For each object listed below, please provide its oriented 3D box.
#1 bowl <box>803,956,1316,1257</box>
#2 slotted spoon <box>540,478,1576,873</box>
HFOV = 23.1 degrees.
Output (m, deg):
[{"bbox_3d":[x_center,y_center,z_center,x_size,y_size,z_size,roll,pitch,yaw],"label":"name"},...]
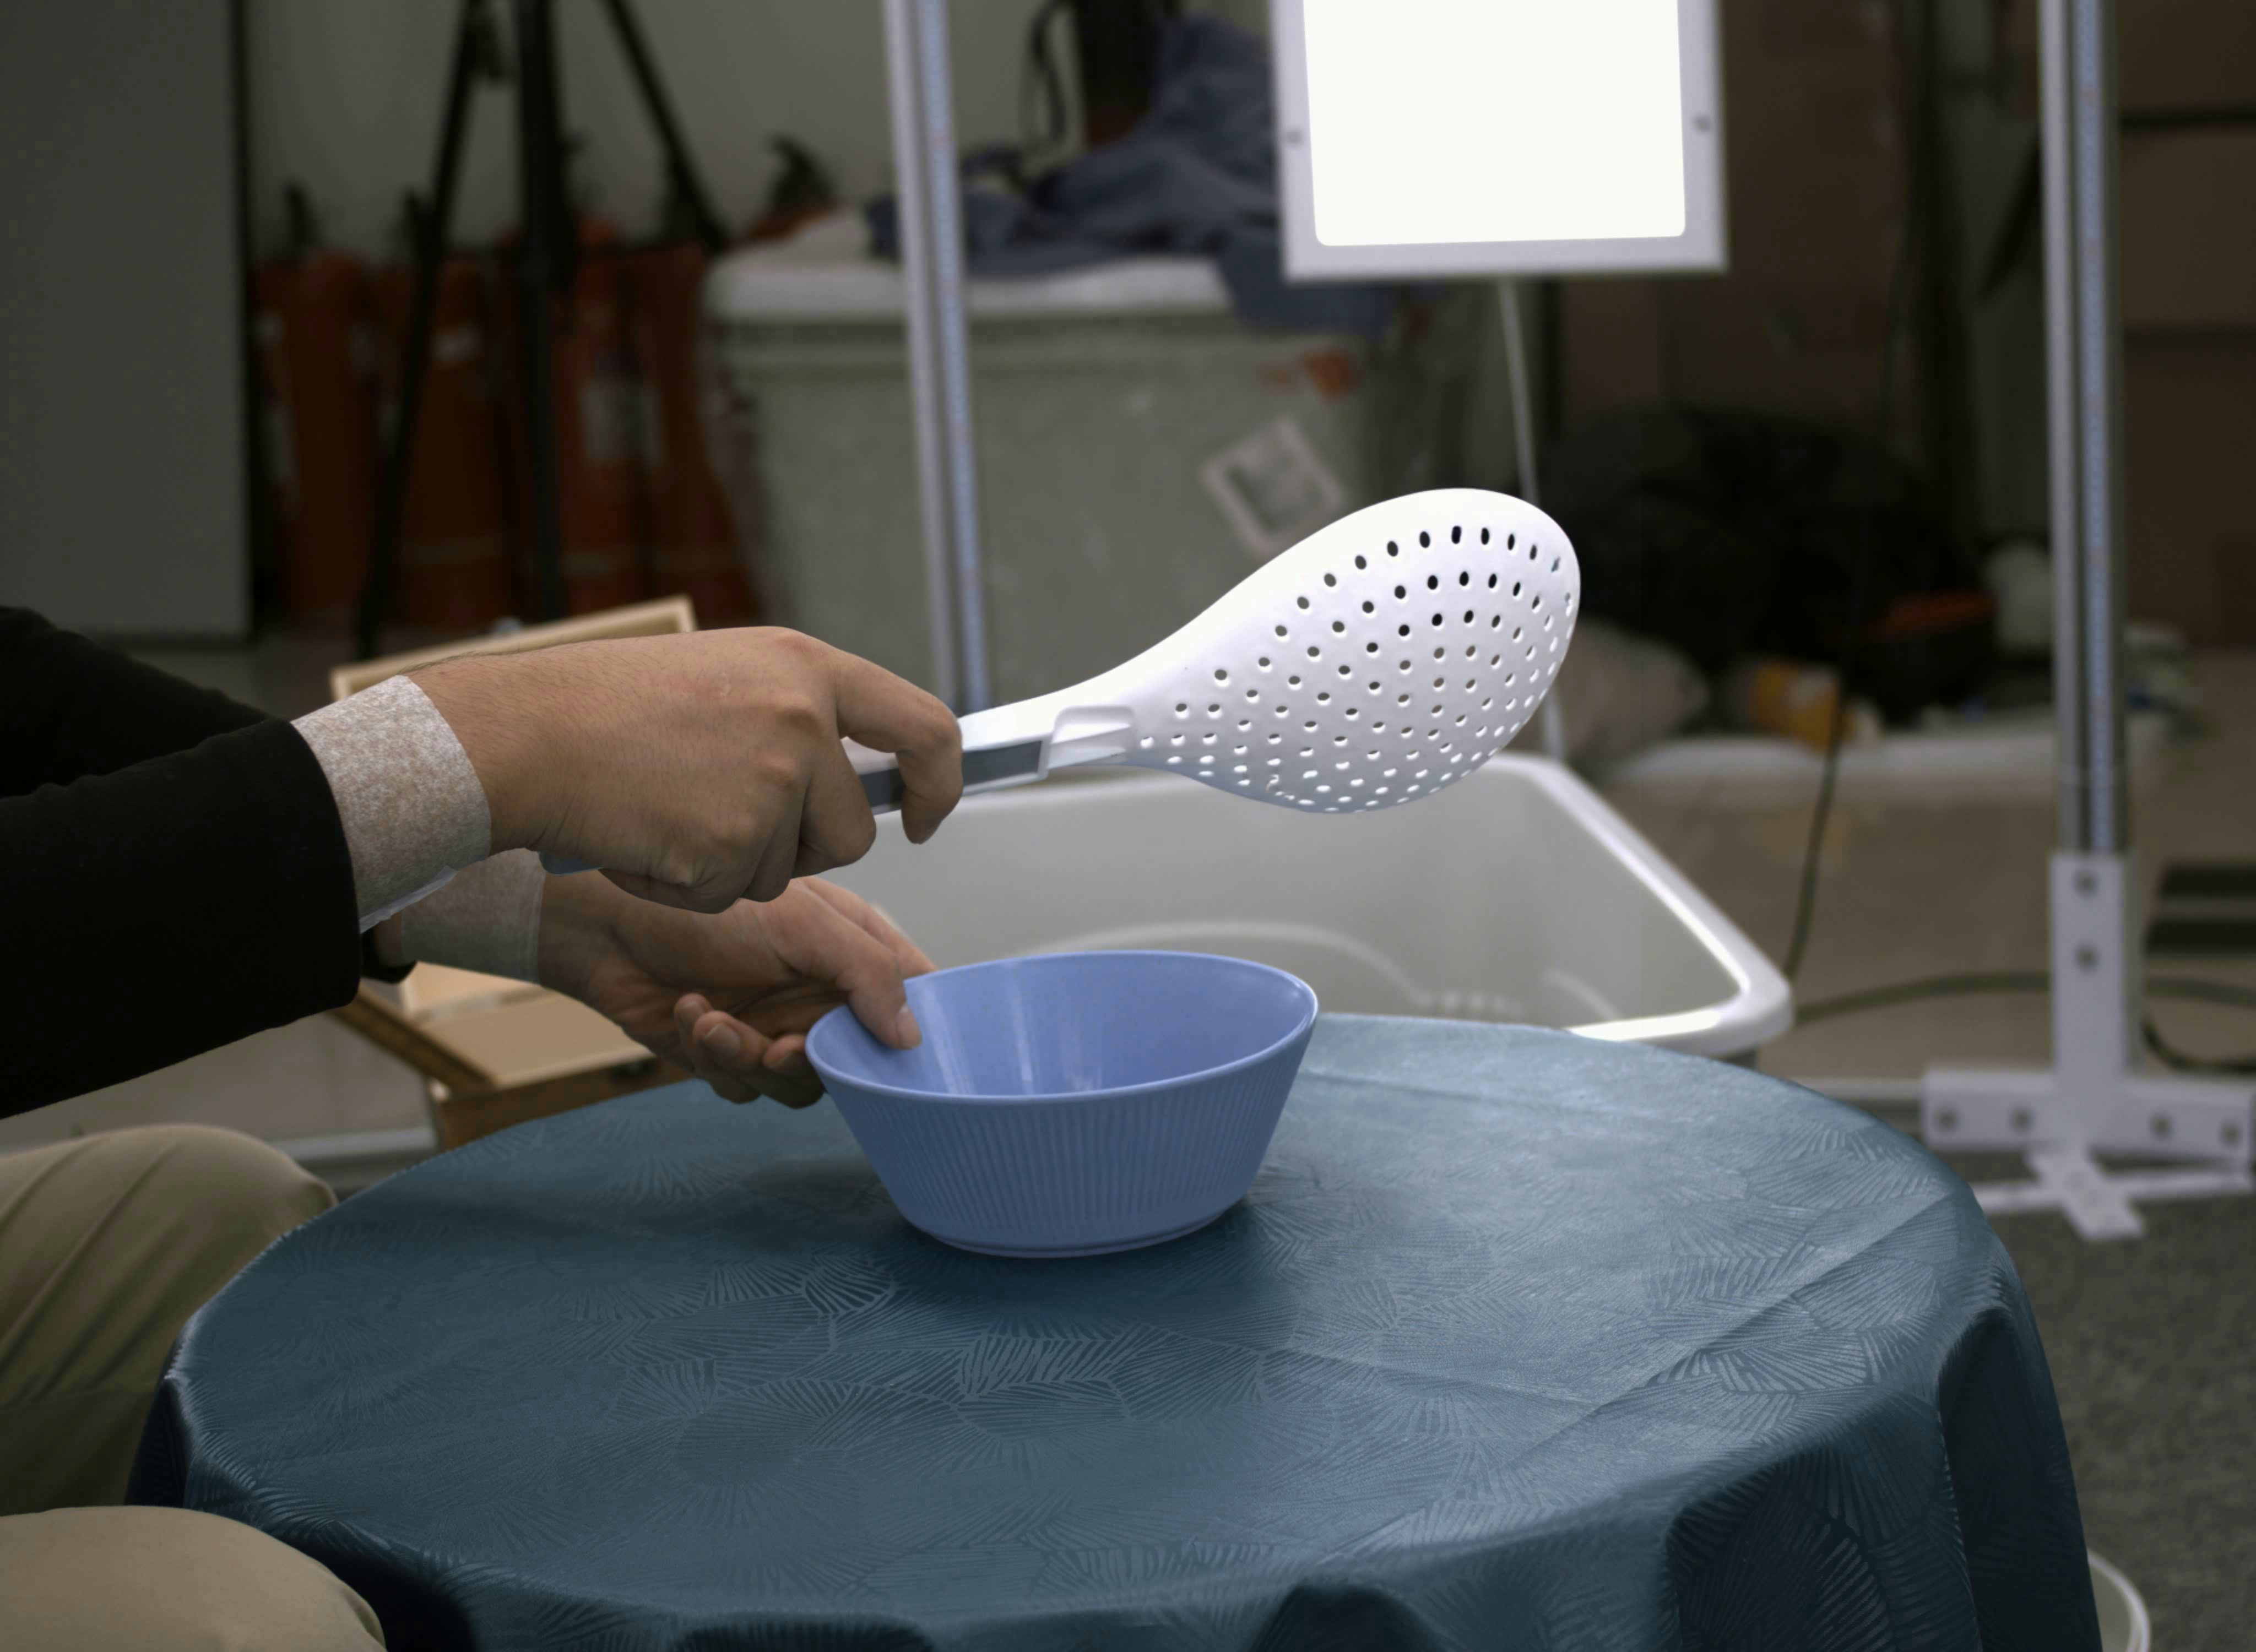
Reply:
[{"bbox_3d":[-0.020,0.098,1.877,0.175,0.070,0.176,-6,14,0],"label":"bowl"},{"bbox_3d":[-0.015,-0.033,1.715,0.345,0.137,0.046,-8,47,-14],"label":"slotted spoon"}]
